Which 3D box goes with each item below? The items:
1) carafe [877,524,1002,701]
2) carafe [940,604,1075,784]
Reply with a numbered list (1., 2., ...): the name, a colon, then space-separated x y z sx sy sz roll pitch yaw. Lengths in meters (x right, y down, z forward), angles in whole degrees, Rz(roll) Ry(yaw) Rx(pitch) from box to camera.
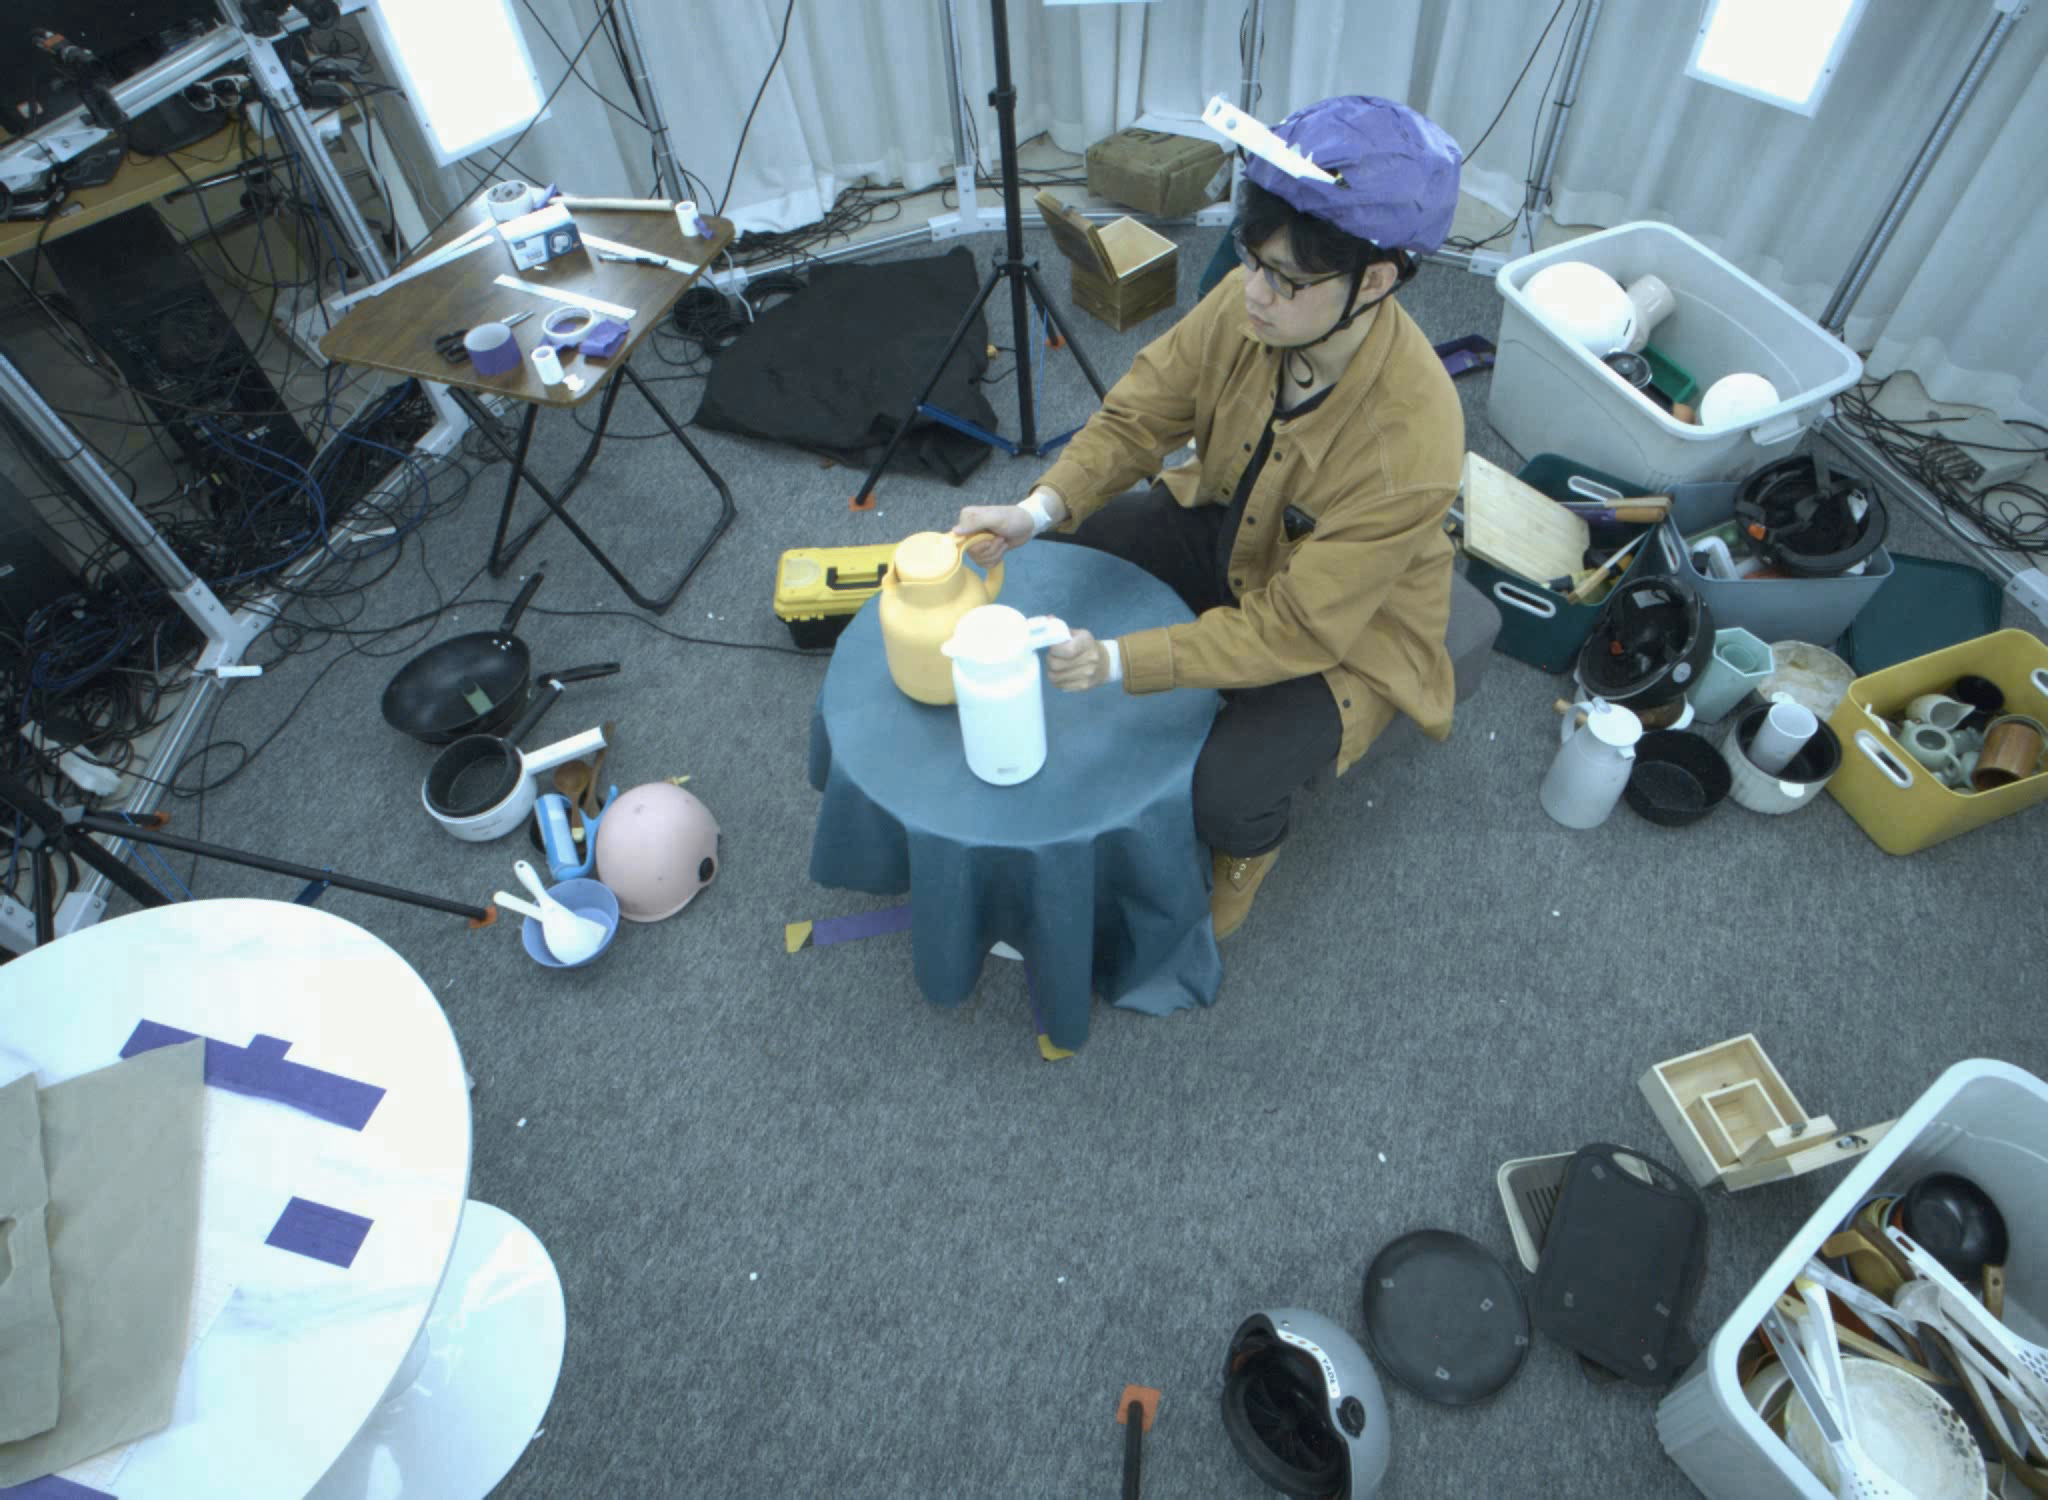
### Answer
1. carafe: -0.114 -0.208 1.772 0.204 0.263 0.160 -35 63 -19
2. carafe: -0.017 -0.078 1.674 0.174 0.272 0.122 -15 53 -8
